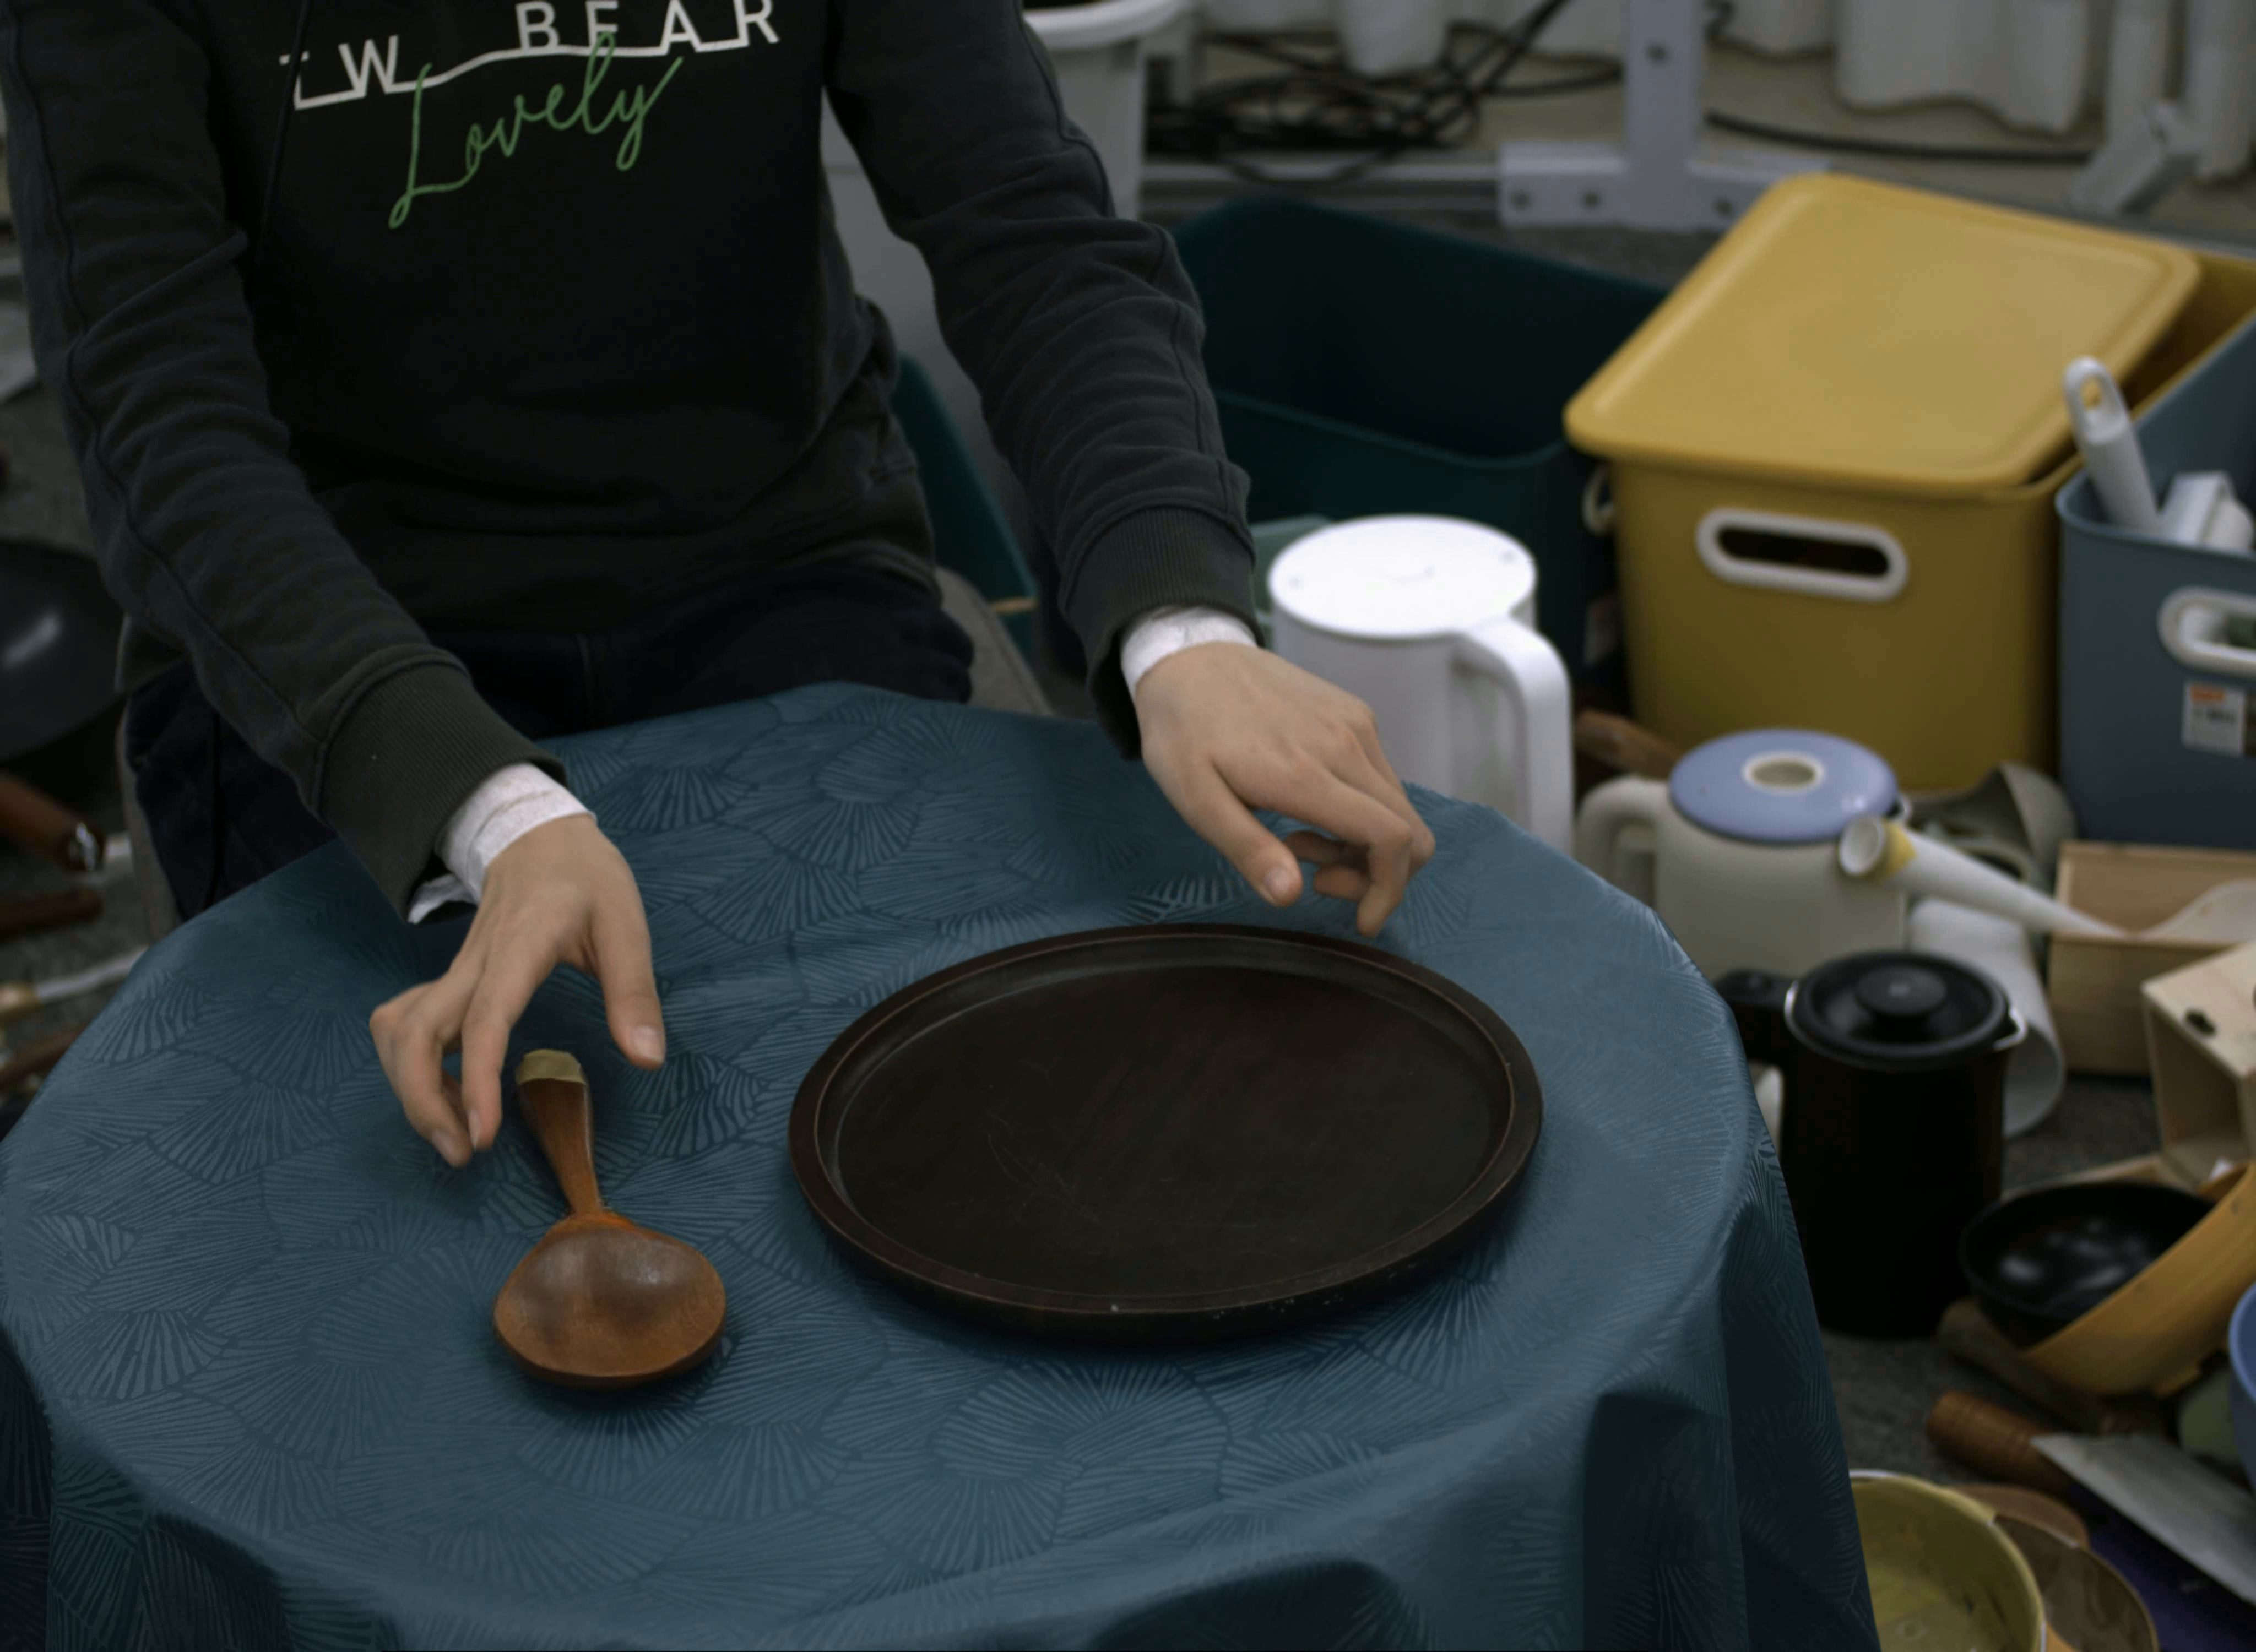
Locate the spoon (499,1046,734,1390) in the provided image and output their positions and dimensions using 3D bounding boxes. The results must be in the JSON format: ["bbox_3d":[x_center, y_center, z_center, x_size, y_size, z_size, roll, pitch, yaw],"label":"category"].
[{"bbox_3d":[-0.177,0.129,1.845,0.075,0.017,0.218,-8,28,-10],"label":"spoon"}]

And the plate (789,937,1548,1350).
[{"bbox_3d":[0.013,0.103,1.872,0.253,0.029,0.259,-1,28,1],"label":"plate"}]
